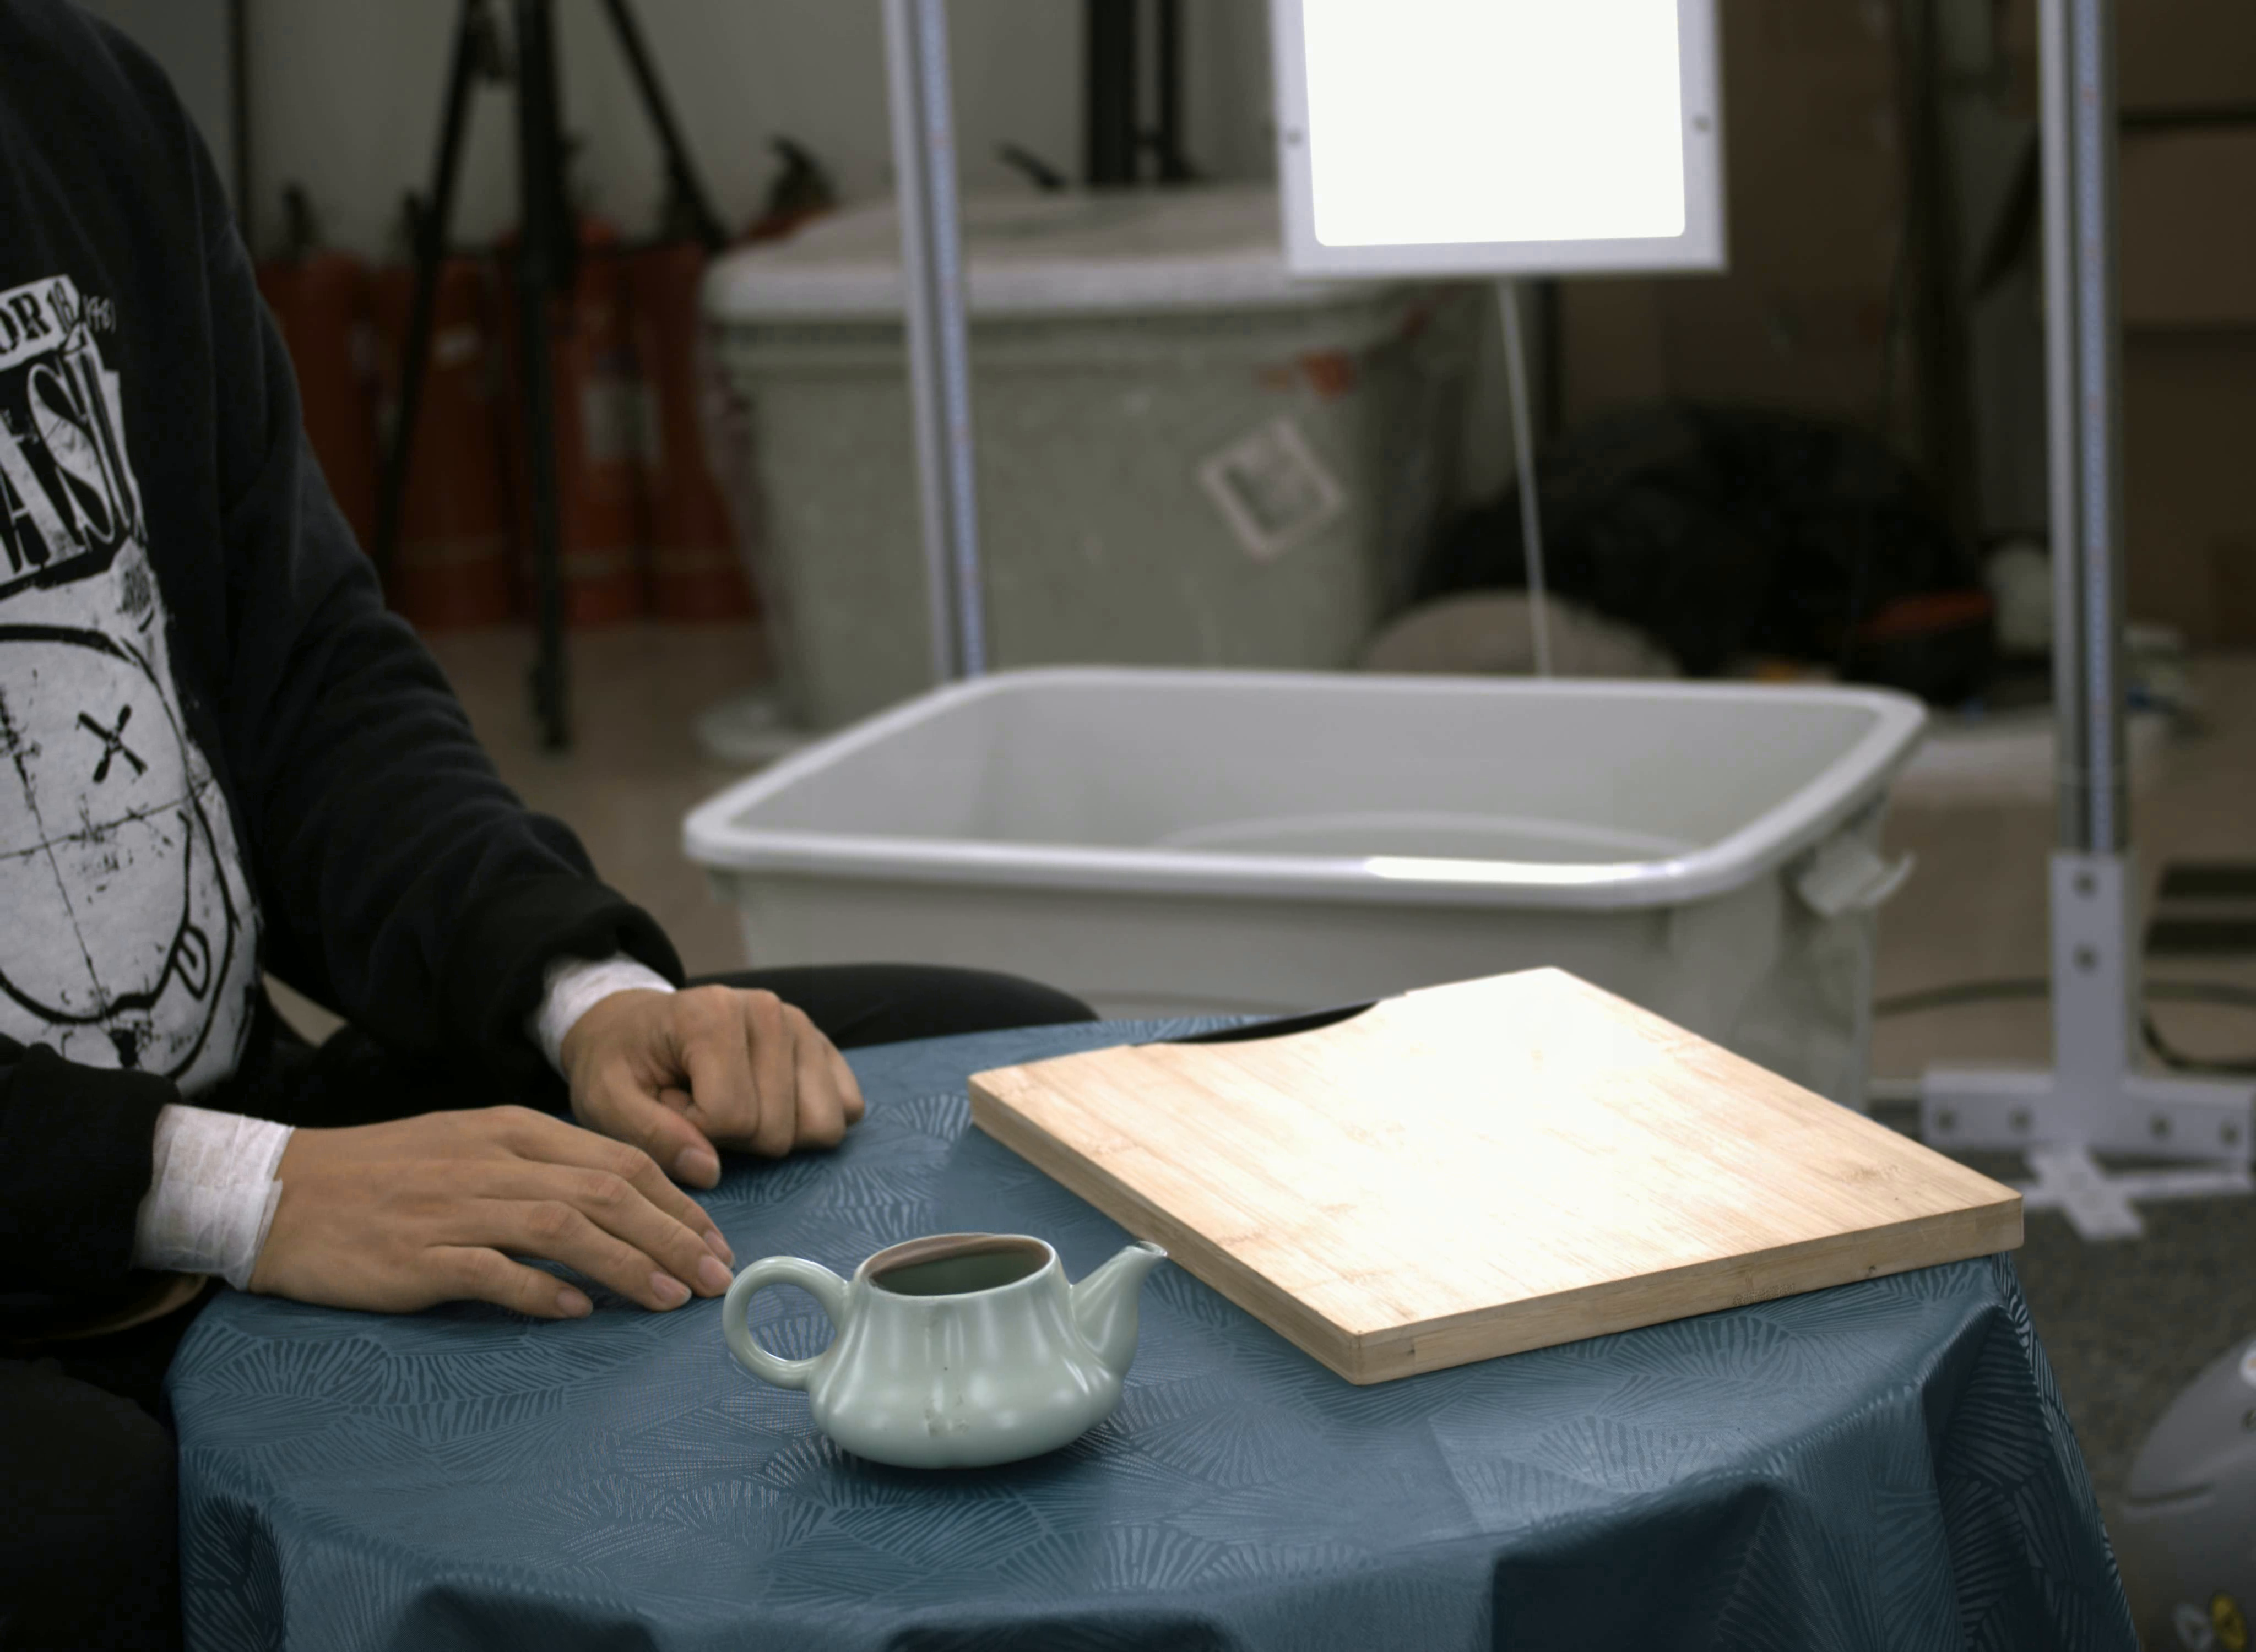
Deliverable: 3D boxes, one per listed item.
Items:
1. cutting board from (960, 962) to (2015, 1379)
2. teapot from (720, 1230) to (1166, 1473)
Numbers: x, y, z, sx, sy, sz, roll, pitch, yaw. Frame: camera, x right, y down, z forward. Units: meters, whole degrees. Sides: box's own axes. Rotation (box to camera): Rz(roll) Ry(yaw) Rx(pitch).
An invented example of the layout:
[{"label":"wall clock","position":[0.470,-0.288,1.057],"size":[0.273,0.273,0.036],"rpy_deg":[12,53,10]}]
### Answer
[{"label":"cutting board","position":[0.114,0.112,1.882],"size":[0.246,0.023,0.353],"rpy_deg":[-10,15,-21]},{"label":"teapot","position":[-0.055,0.158,1.666],"size":[0.137,0.061,0.096],"rpy_deg":[-4,15,4]}]
